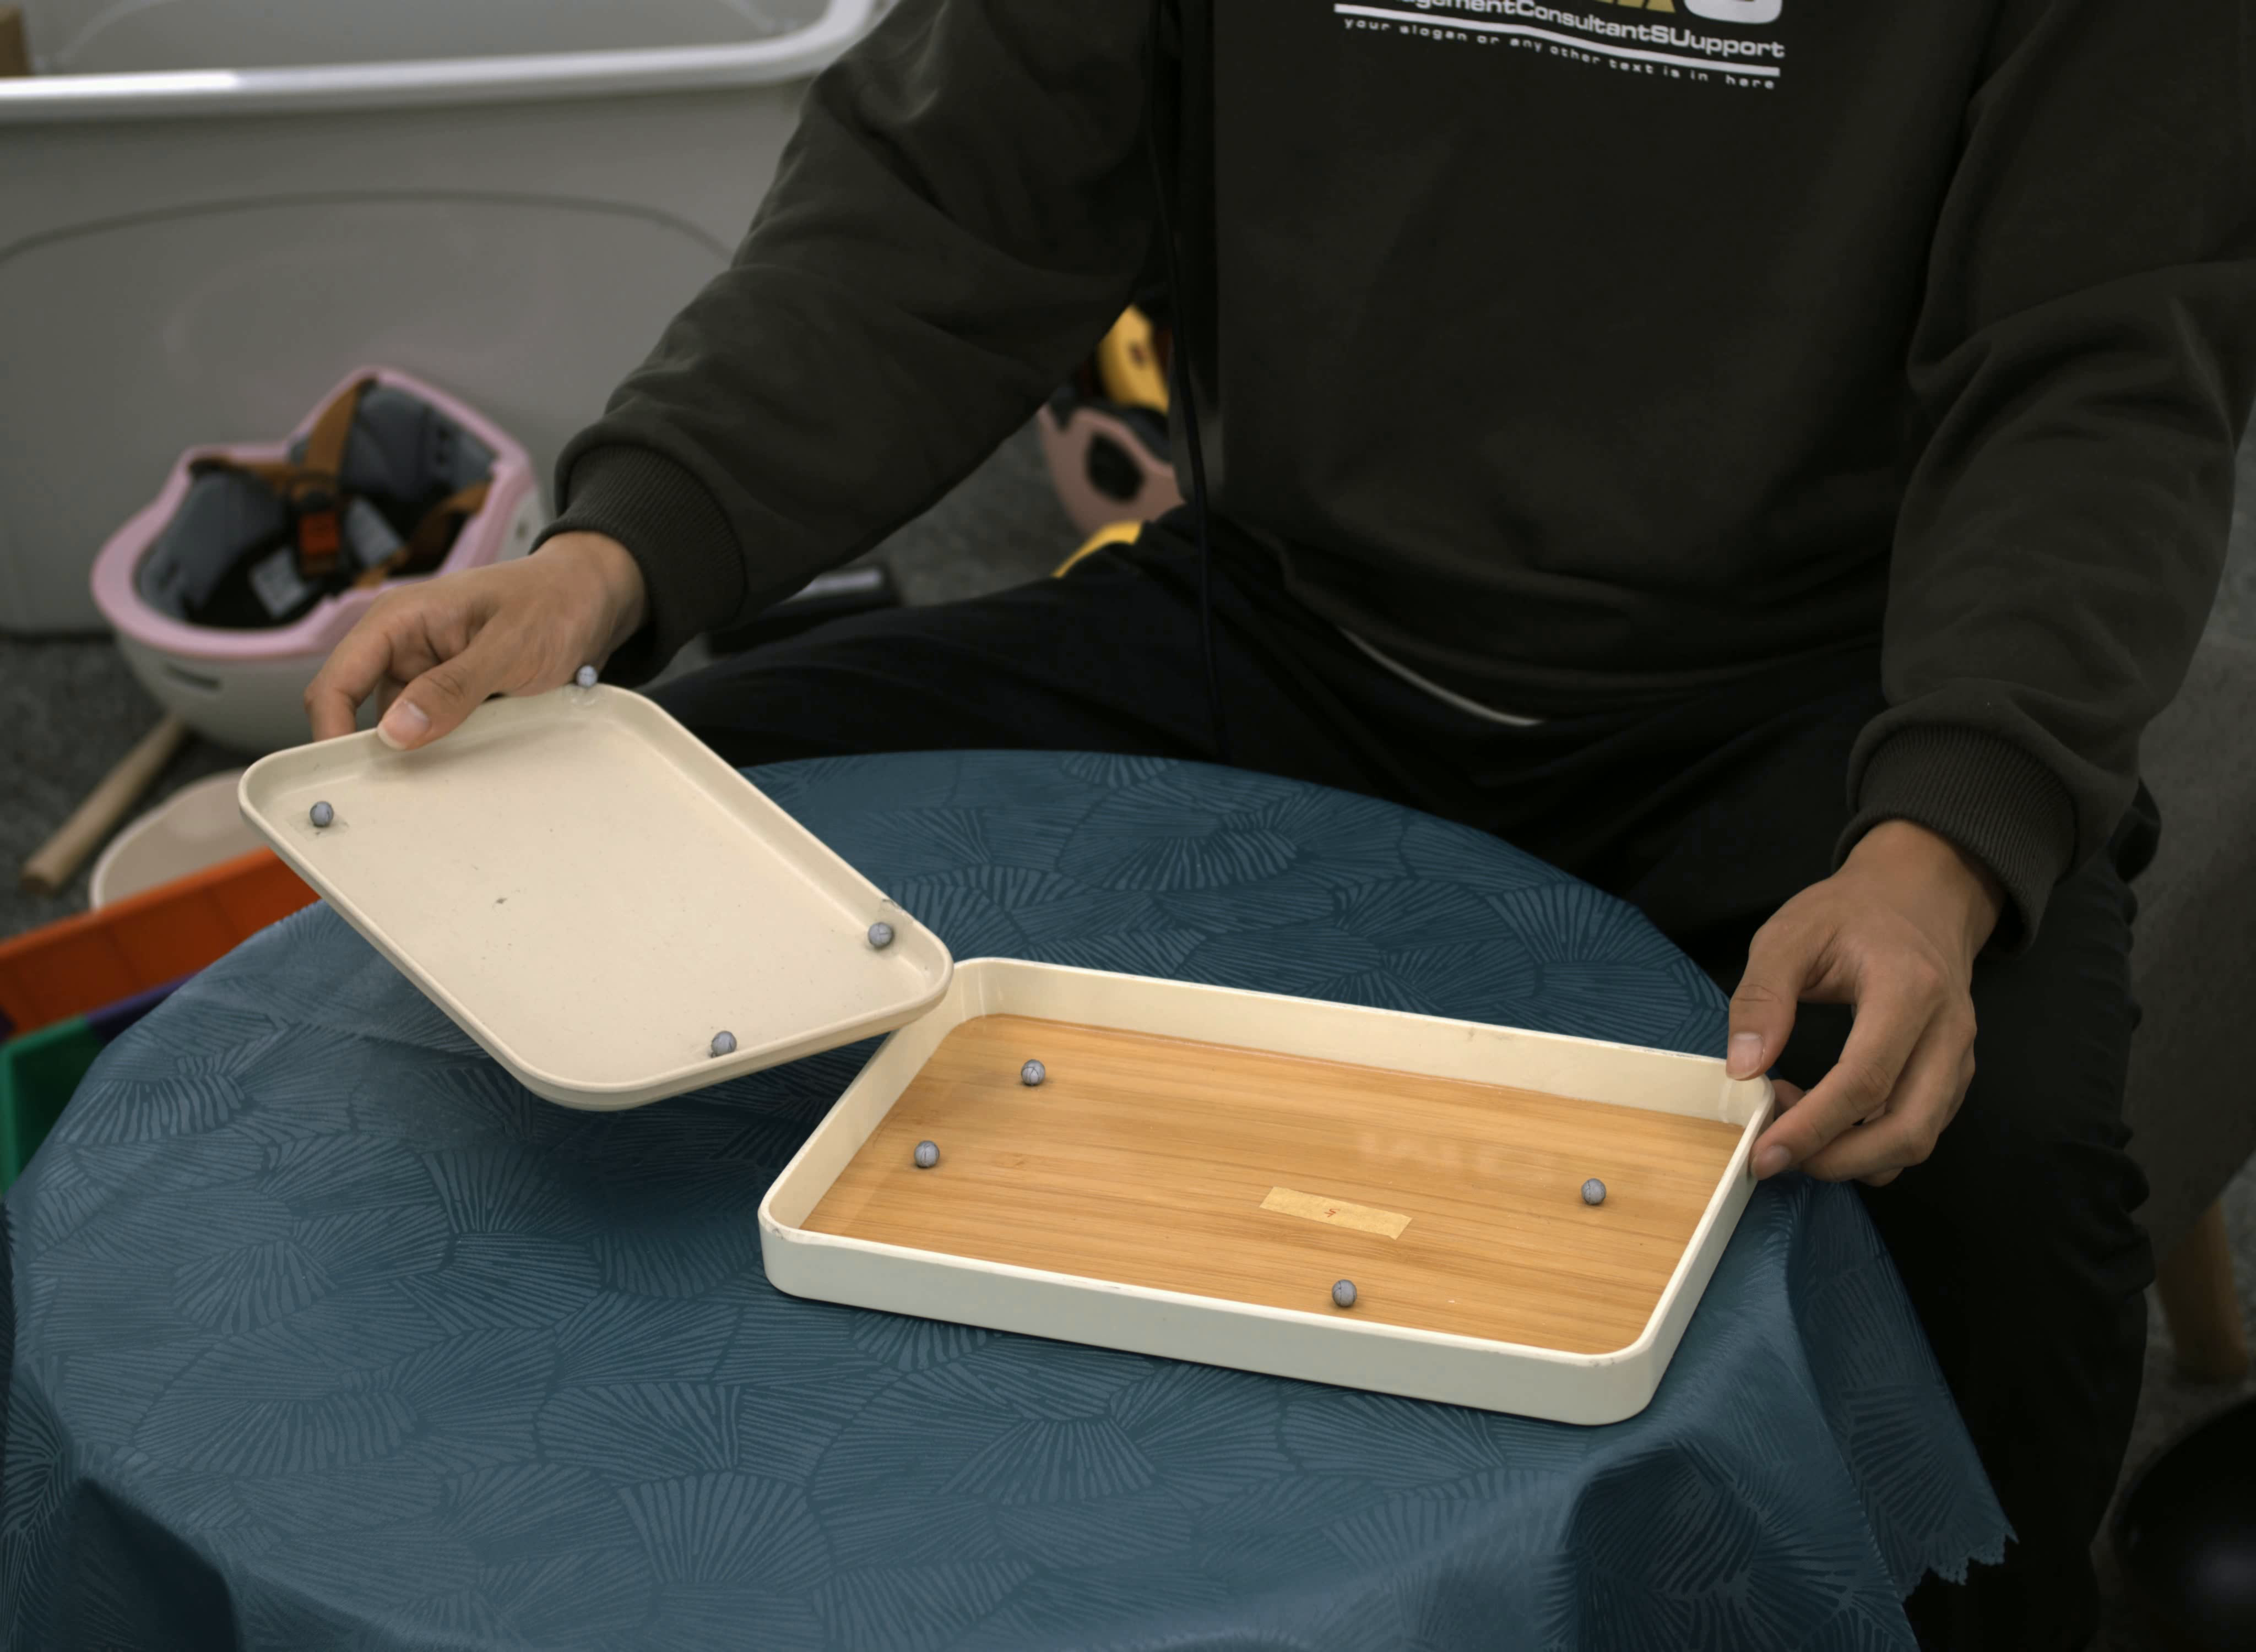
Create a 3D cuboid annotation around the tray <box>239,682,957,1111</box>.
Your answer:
[{"bbox_3d":[-0.184,0.023,1.933,0.172,0.017,0.241,-16,37,-34],"label":"tray"}]

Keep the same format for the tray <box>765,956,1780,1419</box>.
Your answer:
[{"bbox_3d":[0.049,0.115,1.845,0.298,0.027,0.195,8,29,18],"label":"tray"}]
